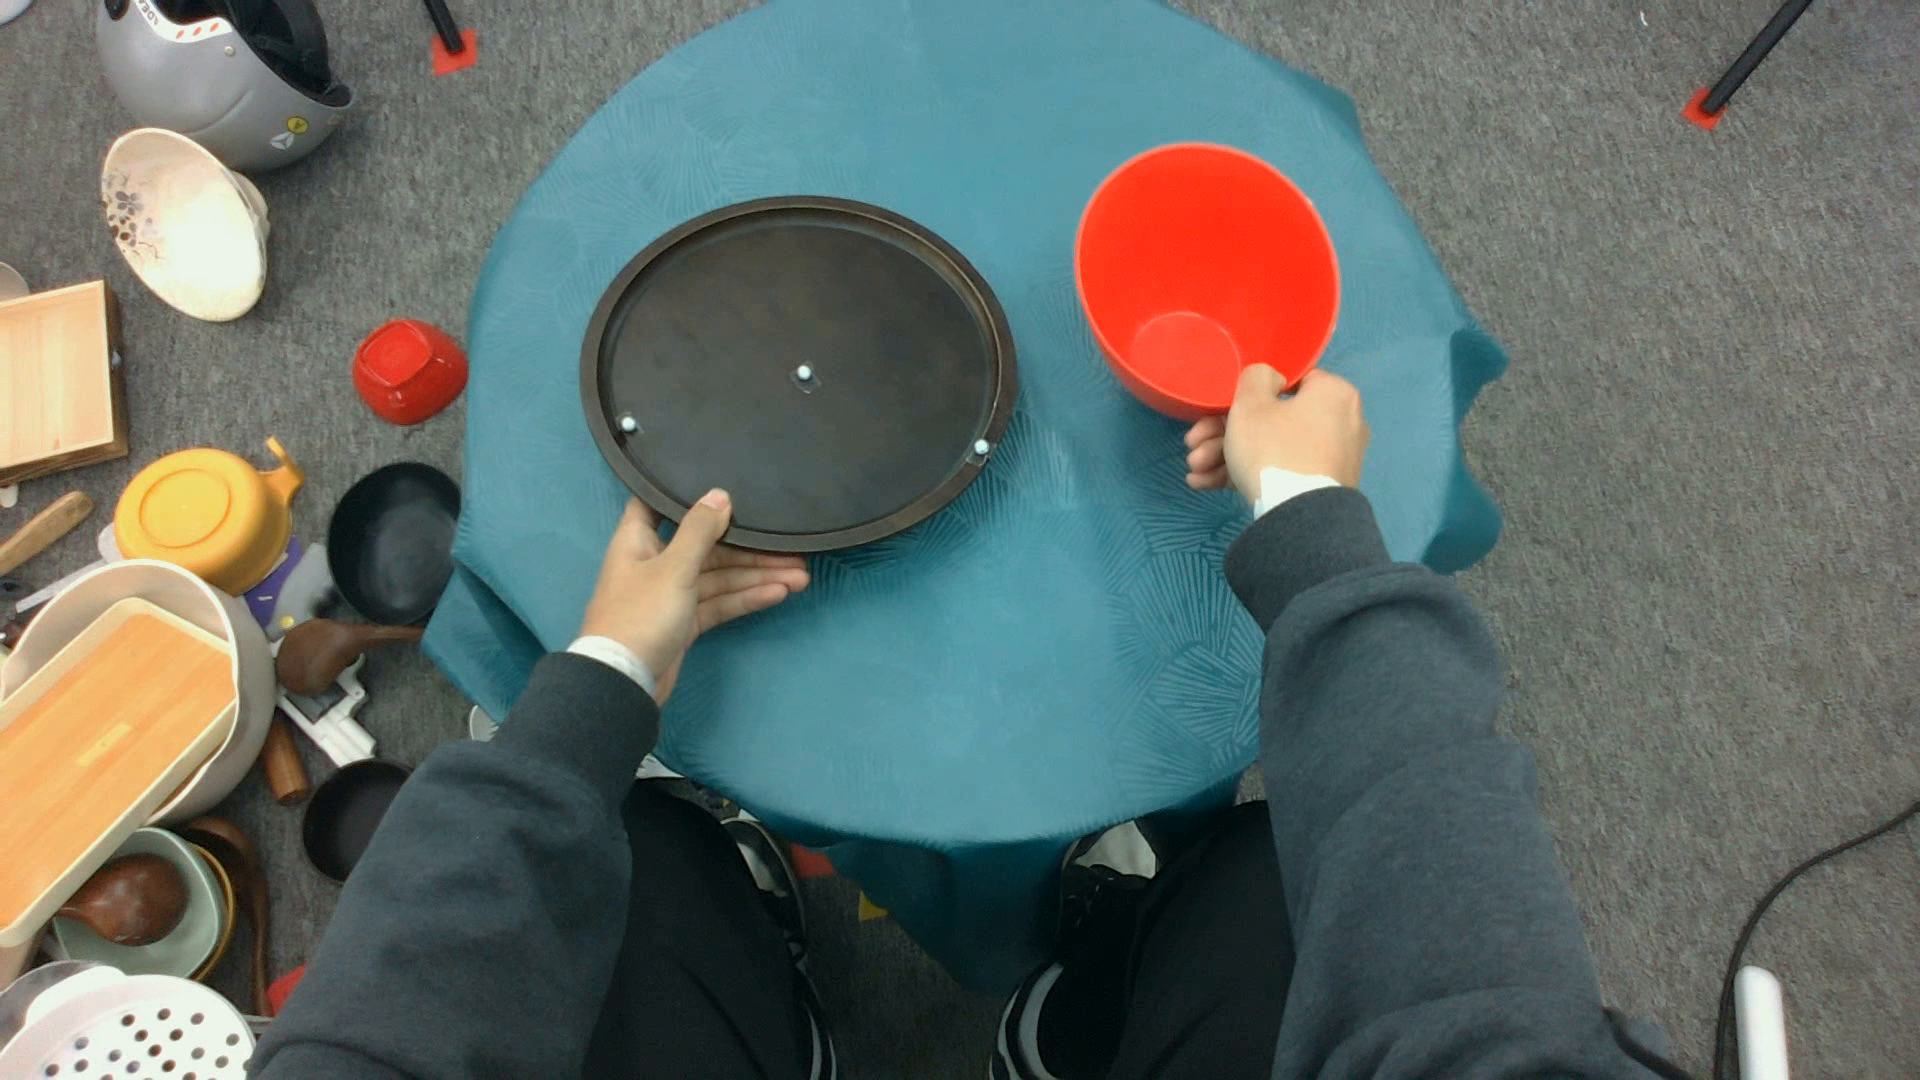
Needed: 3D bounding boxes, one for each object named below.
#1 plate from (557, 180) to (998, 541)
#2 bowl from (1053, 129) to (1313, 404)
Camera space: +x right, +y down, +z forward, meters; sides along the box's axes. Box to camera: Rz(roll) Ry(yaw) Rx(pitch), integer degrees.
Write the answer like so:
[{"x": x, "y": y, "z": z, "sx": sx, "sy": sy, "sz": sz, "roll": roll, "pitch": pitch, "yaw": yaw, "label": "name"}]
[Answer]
[{"x": -0.105, "y": -0.110, "z": 0.804, "sx": 0.255, "sy": 0.029, "sz": 0.256, "roll": 3, "pitch": 62, "yaw": -5, "label": "plate"}, {"x": 0.118, "y": -0.140, "z": 0.780, "sx": 0.148, "sy": 0.104, "sz": 0.148, "roll": 2, "pitch": 70, "yaw": -6, "label": "bowl"}]
